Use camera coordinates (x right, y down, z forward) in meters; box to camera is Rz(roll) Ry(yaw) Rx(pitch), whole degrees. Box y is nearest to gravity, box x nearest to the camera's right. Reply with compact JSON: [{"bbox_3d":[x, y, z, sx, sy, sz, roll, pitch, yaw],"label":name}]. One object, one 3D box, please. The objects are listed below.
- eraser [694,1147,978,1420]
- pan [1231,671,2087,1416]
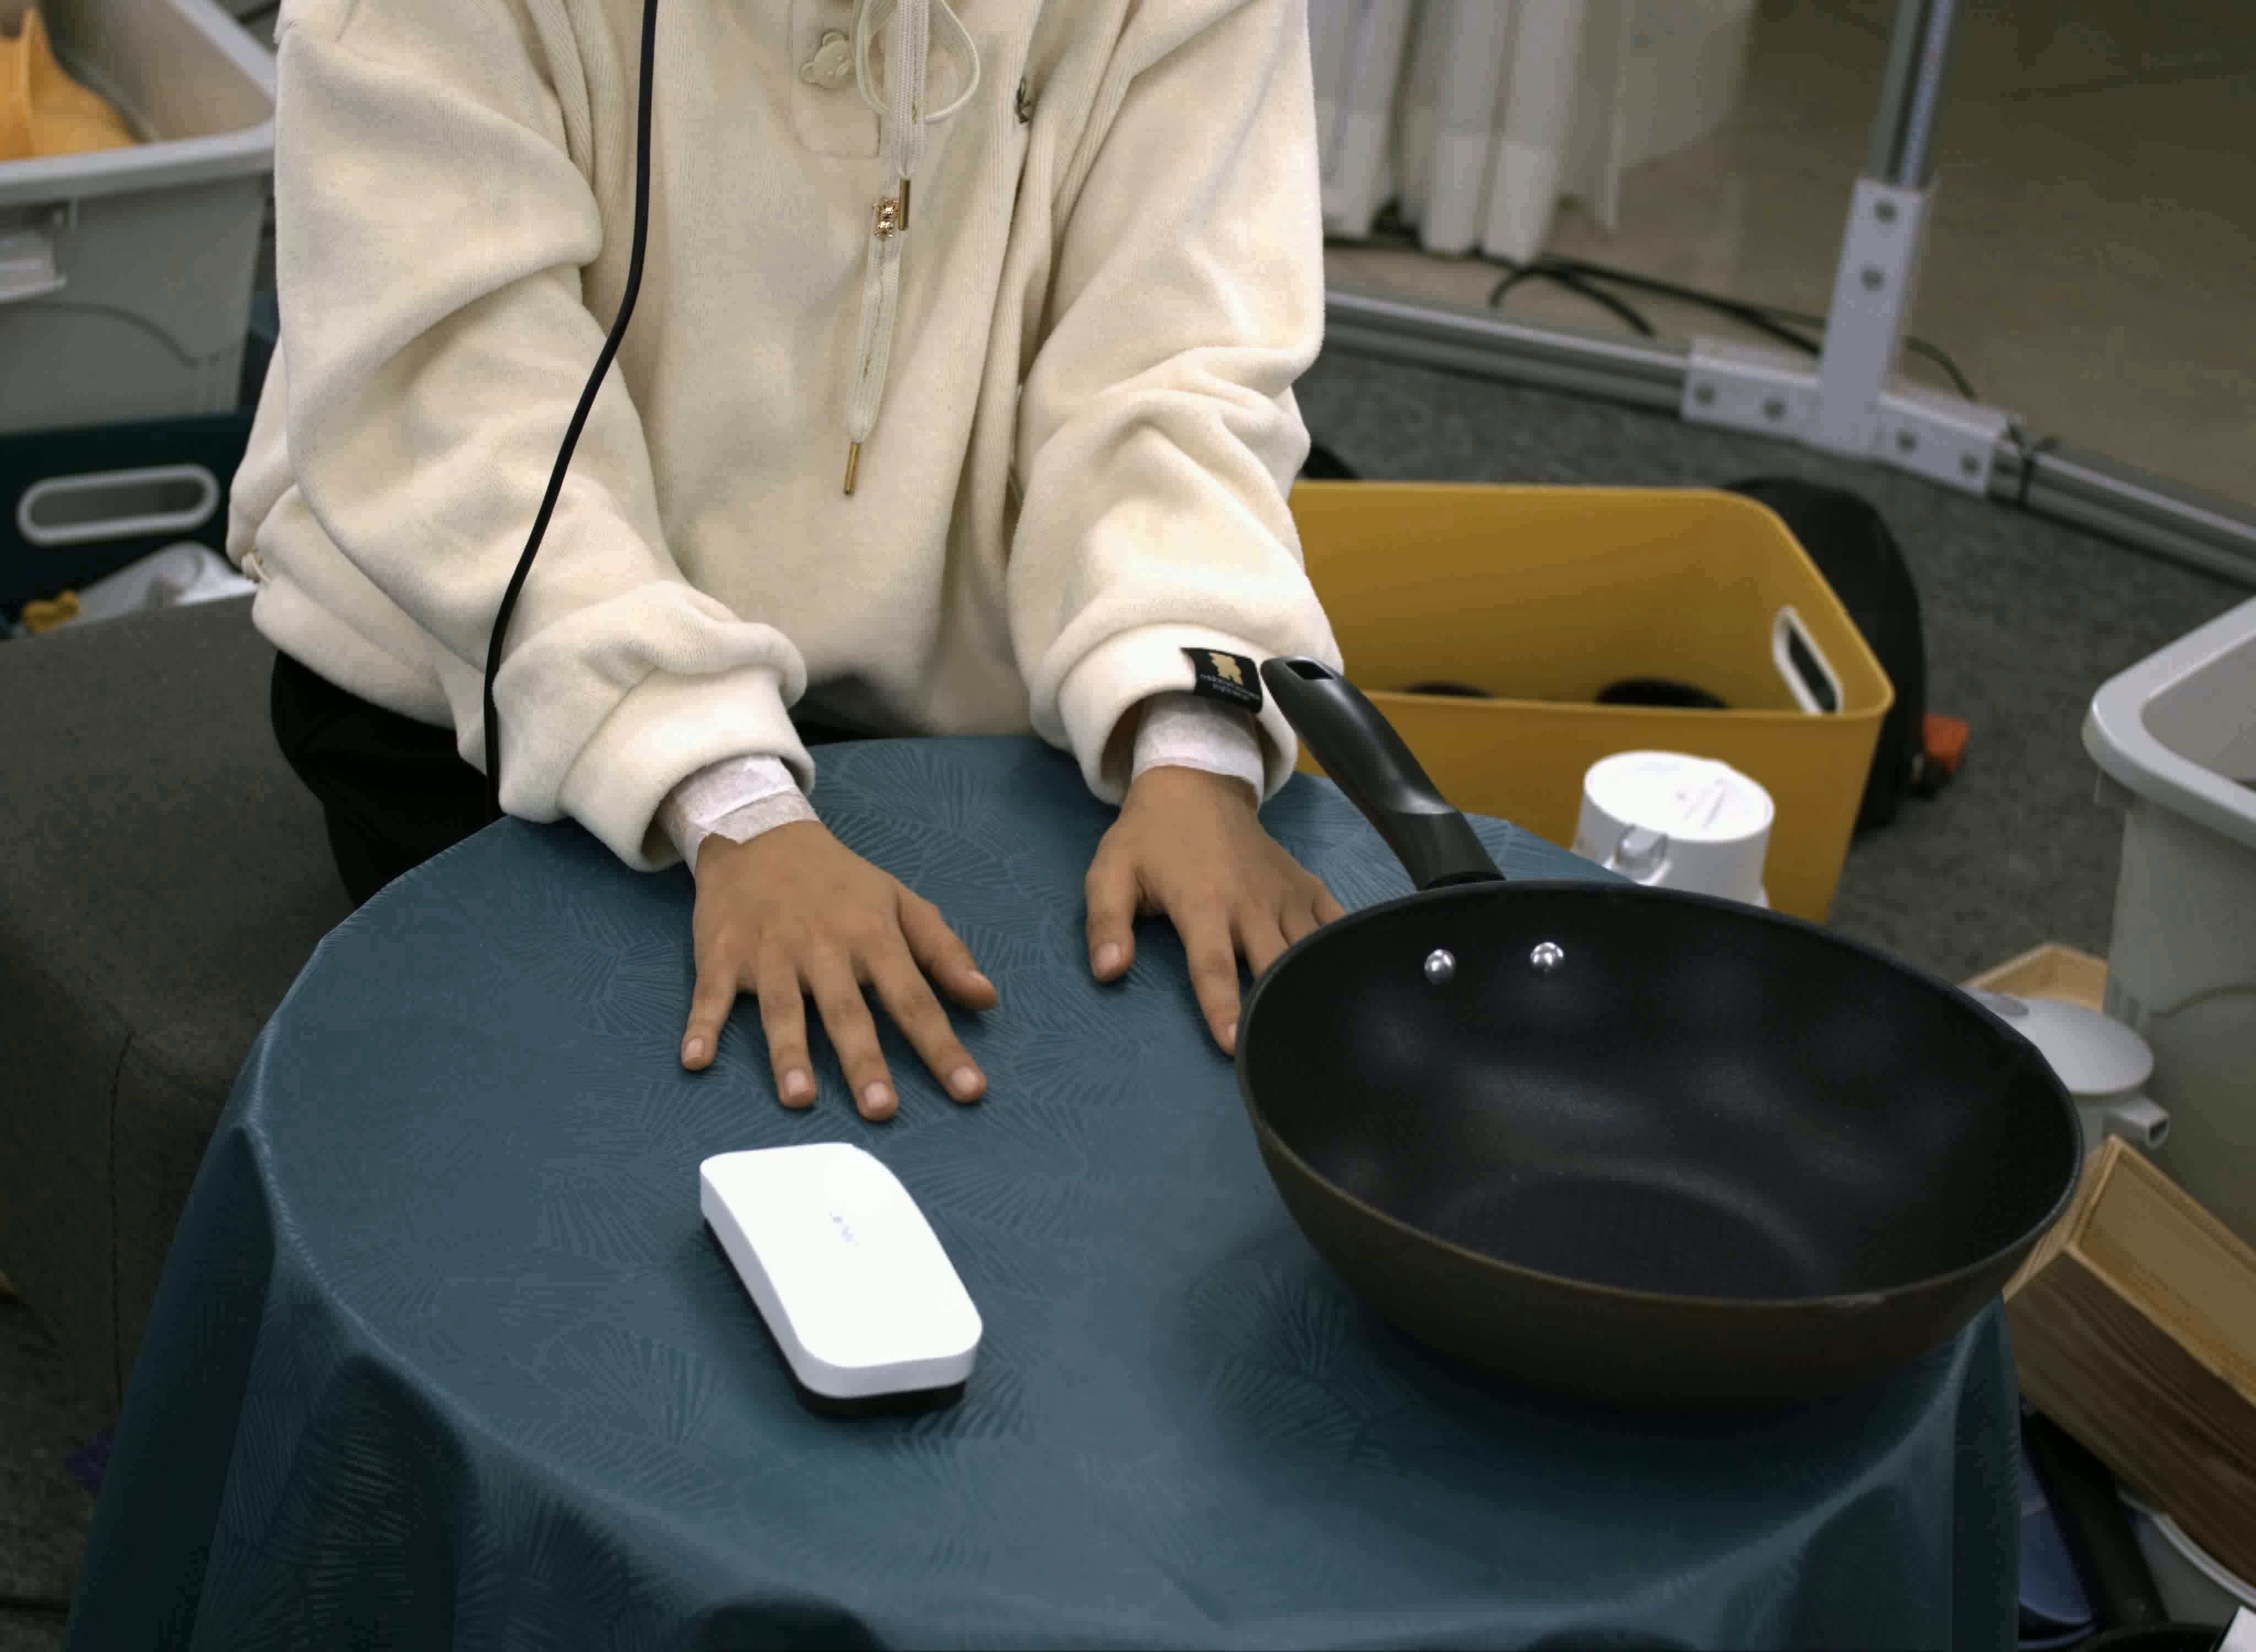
[{"bbox_3d":[-0.094,0.143,1.710,0.063,0.034,0.132,-2,28,-23],"label":"eraser"},{"bbox_3d":[0.138,0.077,1.835,0.286,0.086,0.467,-4,27,-20],"label":"pan"}]
